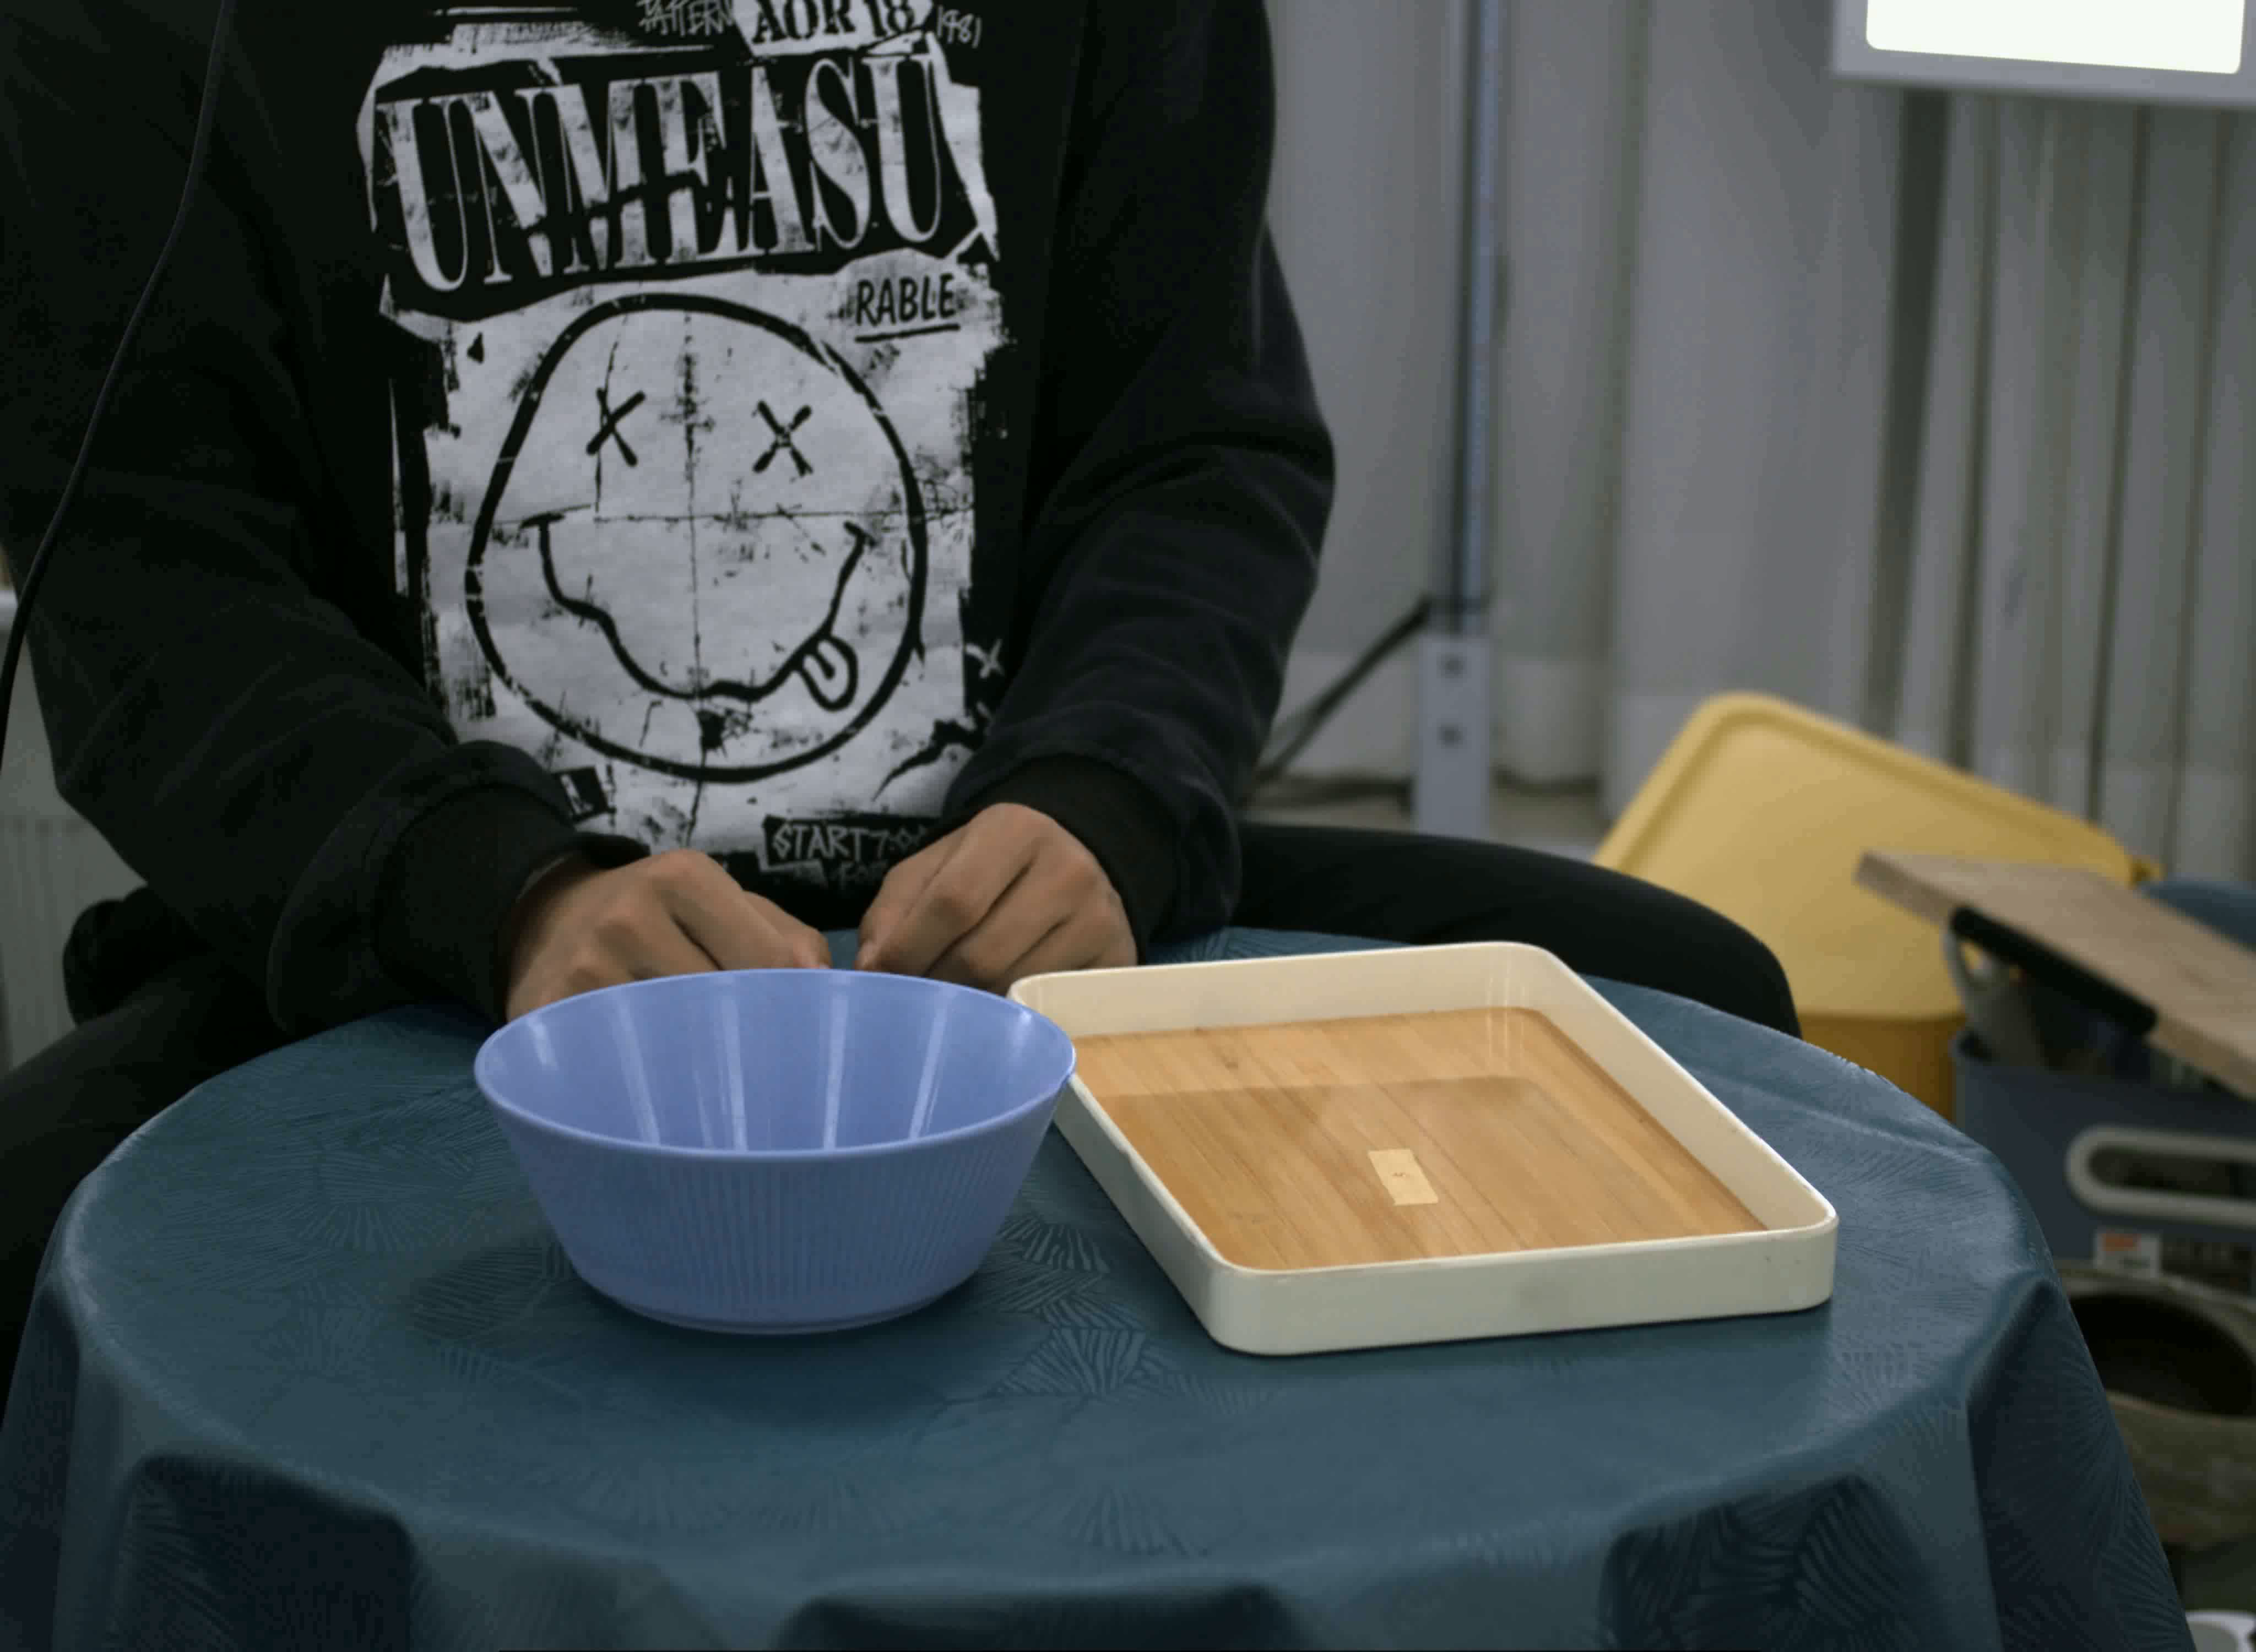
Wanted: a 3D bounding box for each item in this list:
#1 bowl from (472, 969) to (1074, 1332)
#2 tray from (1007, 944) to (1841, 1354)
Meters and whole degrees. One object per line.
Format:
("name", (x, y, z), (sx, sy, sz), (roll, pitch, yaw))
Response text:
("bowl", (-0.104, 0.098, 1.544), (0.175, 0.071, 0.175), (2, 16, 0))
("tray", (0.084, 0.096, 1.641), (0.192, 0.027, 0.297), (-3, 16, -14))
